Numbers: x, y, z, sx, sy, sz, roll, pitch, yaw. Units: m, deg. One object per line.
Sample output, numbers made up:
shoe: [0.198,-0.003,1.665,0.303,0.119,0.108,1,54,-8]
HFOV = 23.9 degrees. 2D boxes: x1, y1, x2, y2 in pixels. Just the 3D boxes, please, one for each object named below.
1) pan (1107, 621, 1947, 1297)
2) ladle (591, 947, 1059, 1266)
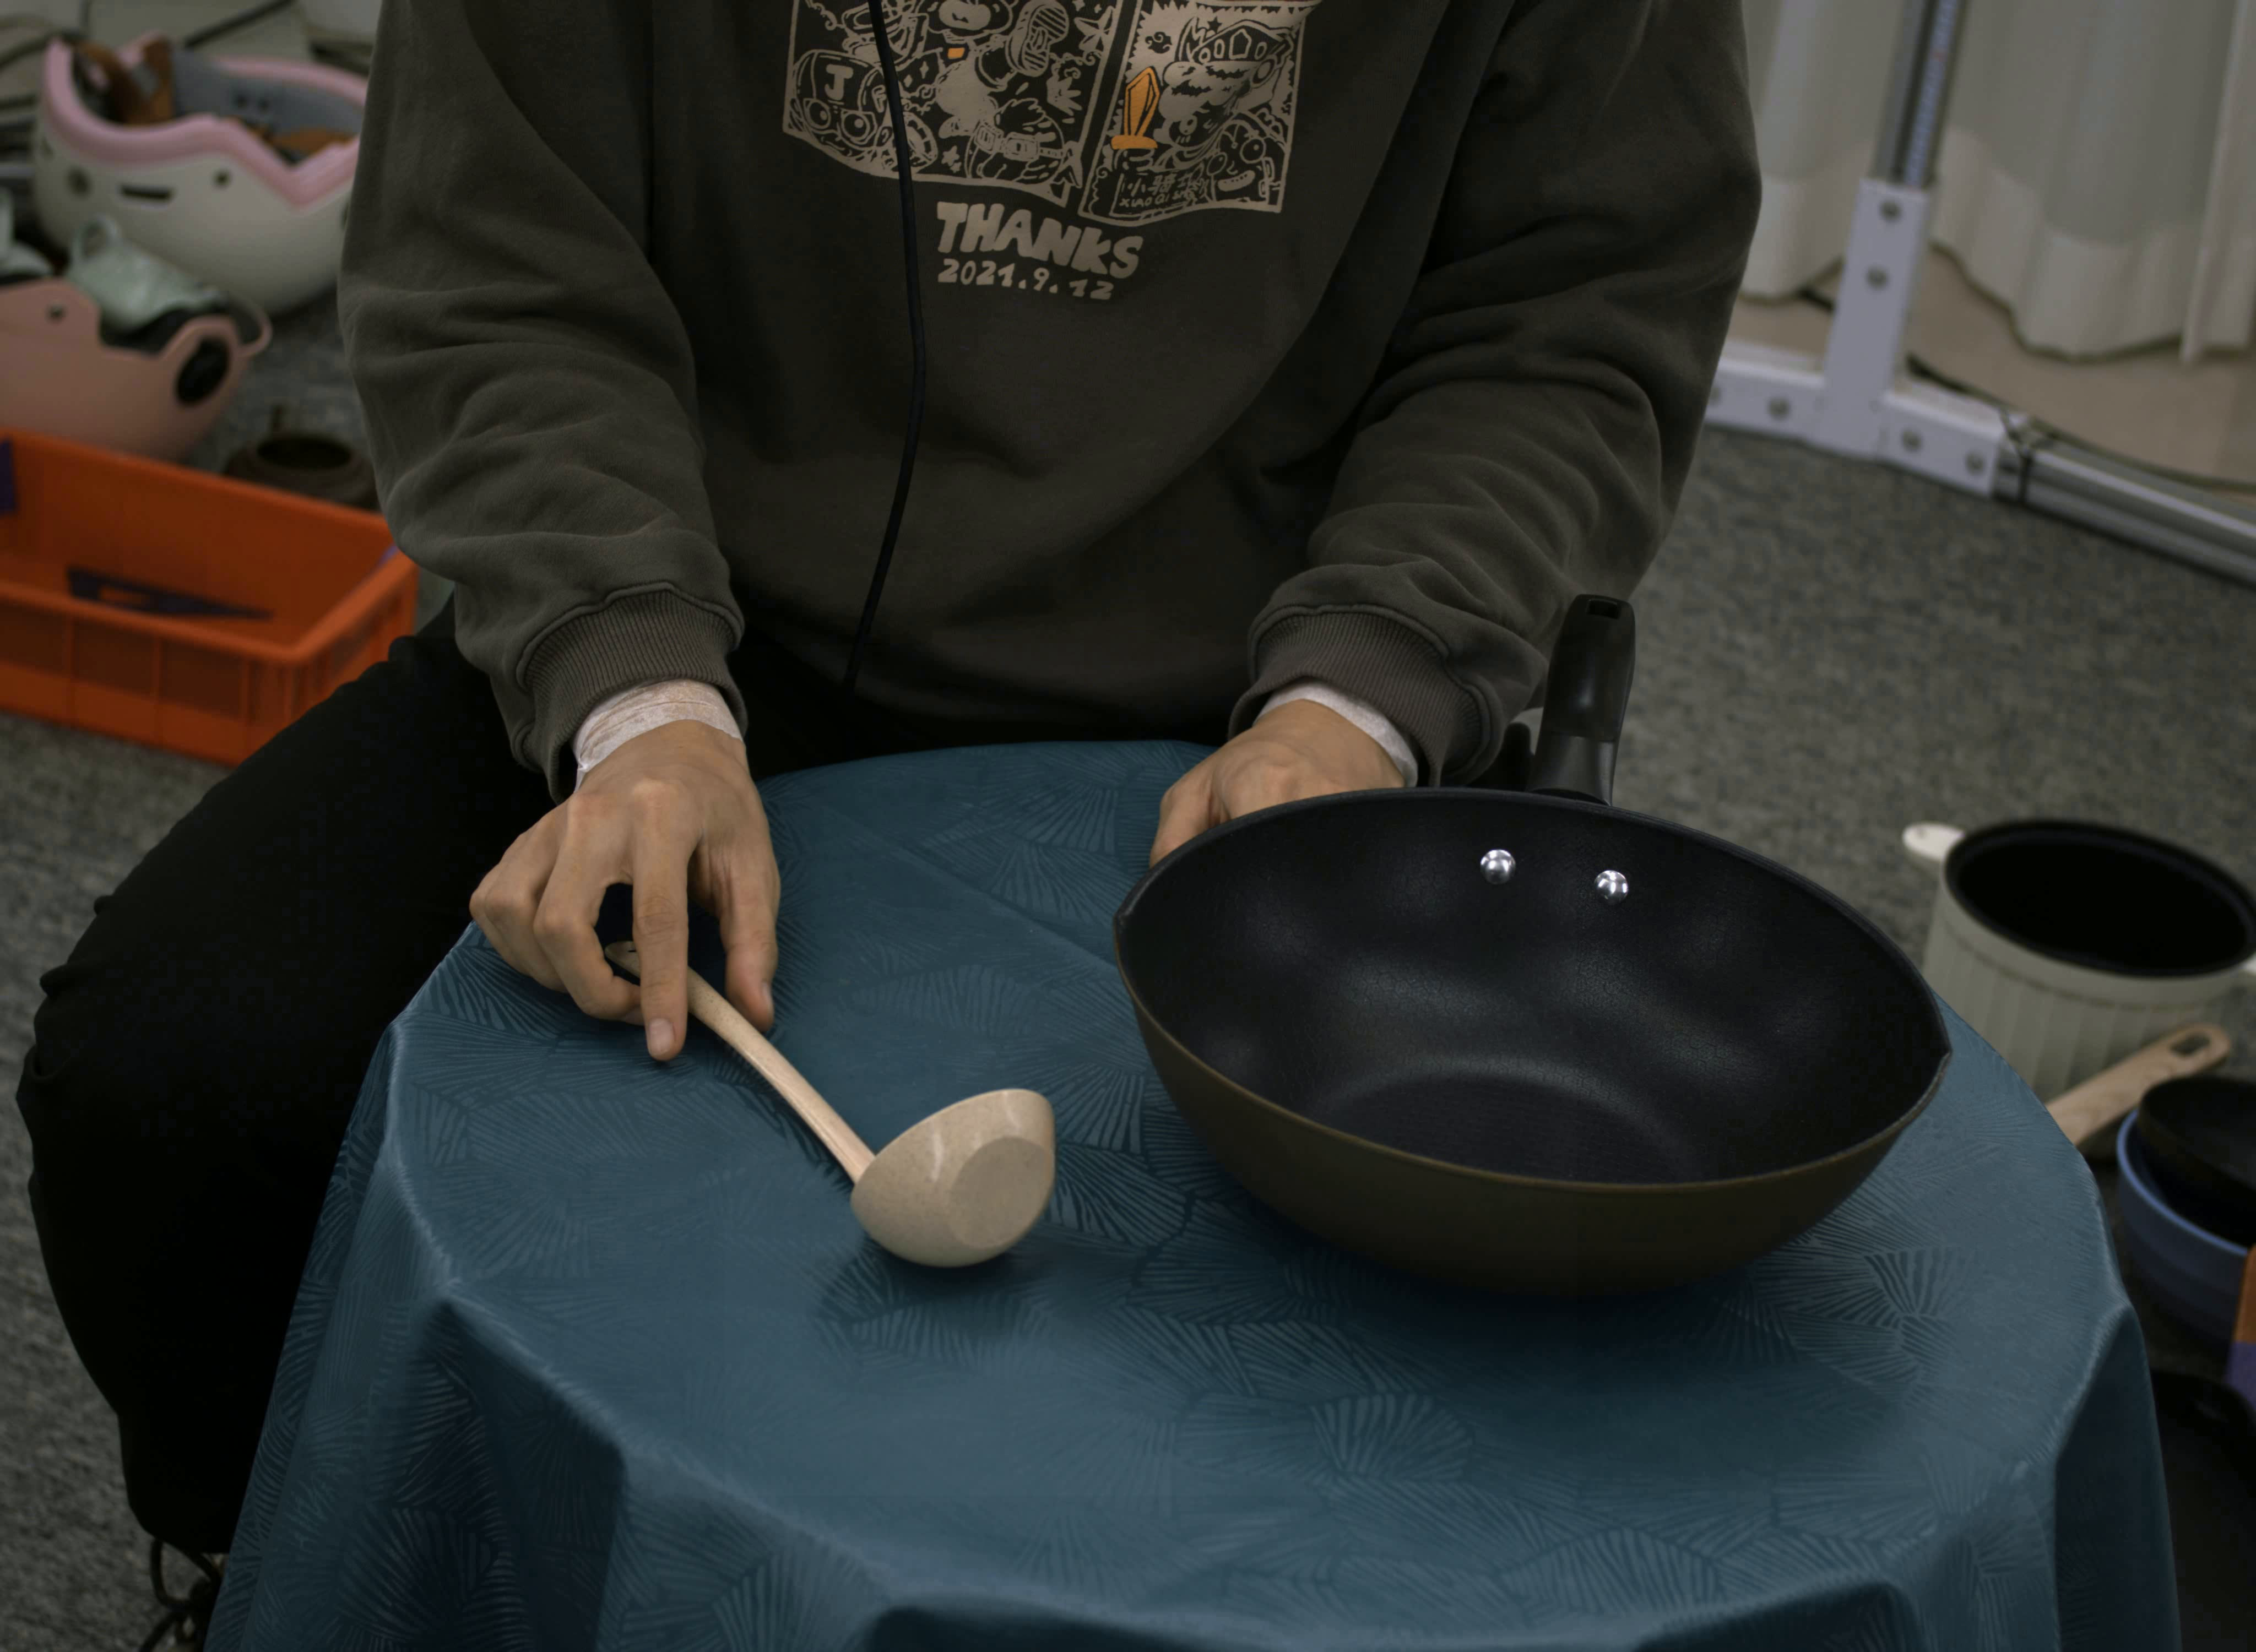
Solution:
pan: [0.145,0.047,1.898,0.288,0.086,0.465,9,26,6]
ladle: [-0.114,0.068,1.808,0.072,0.072,0.256,-17,35,-31]
